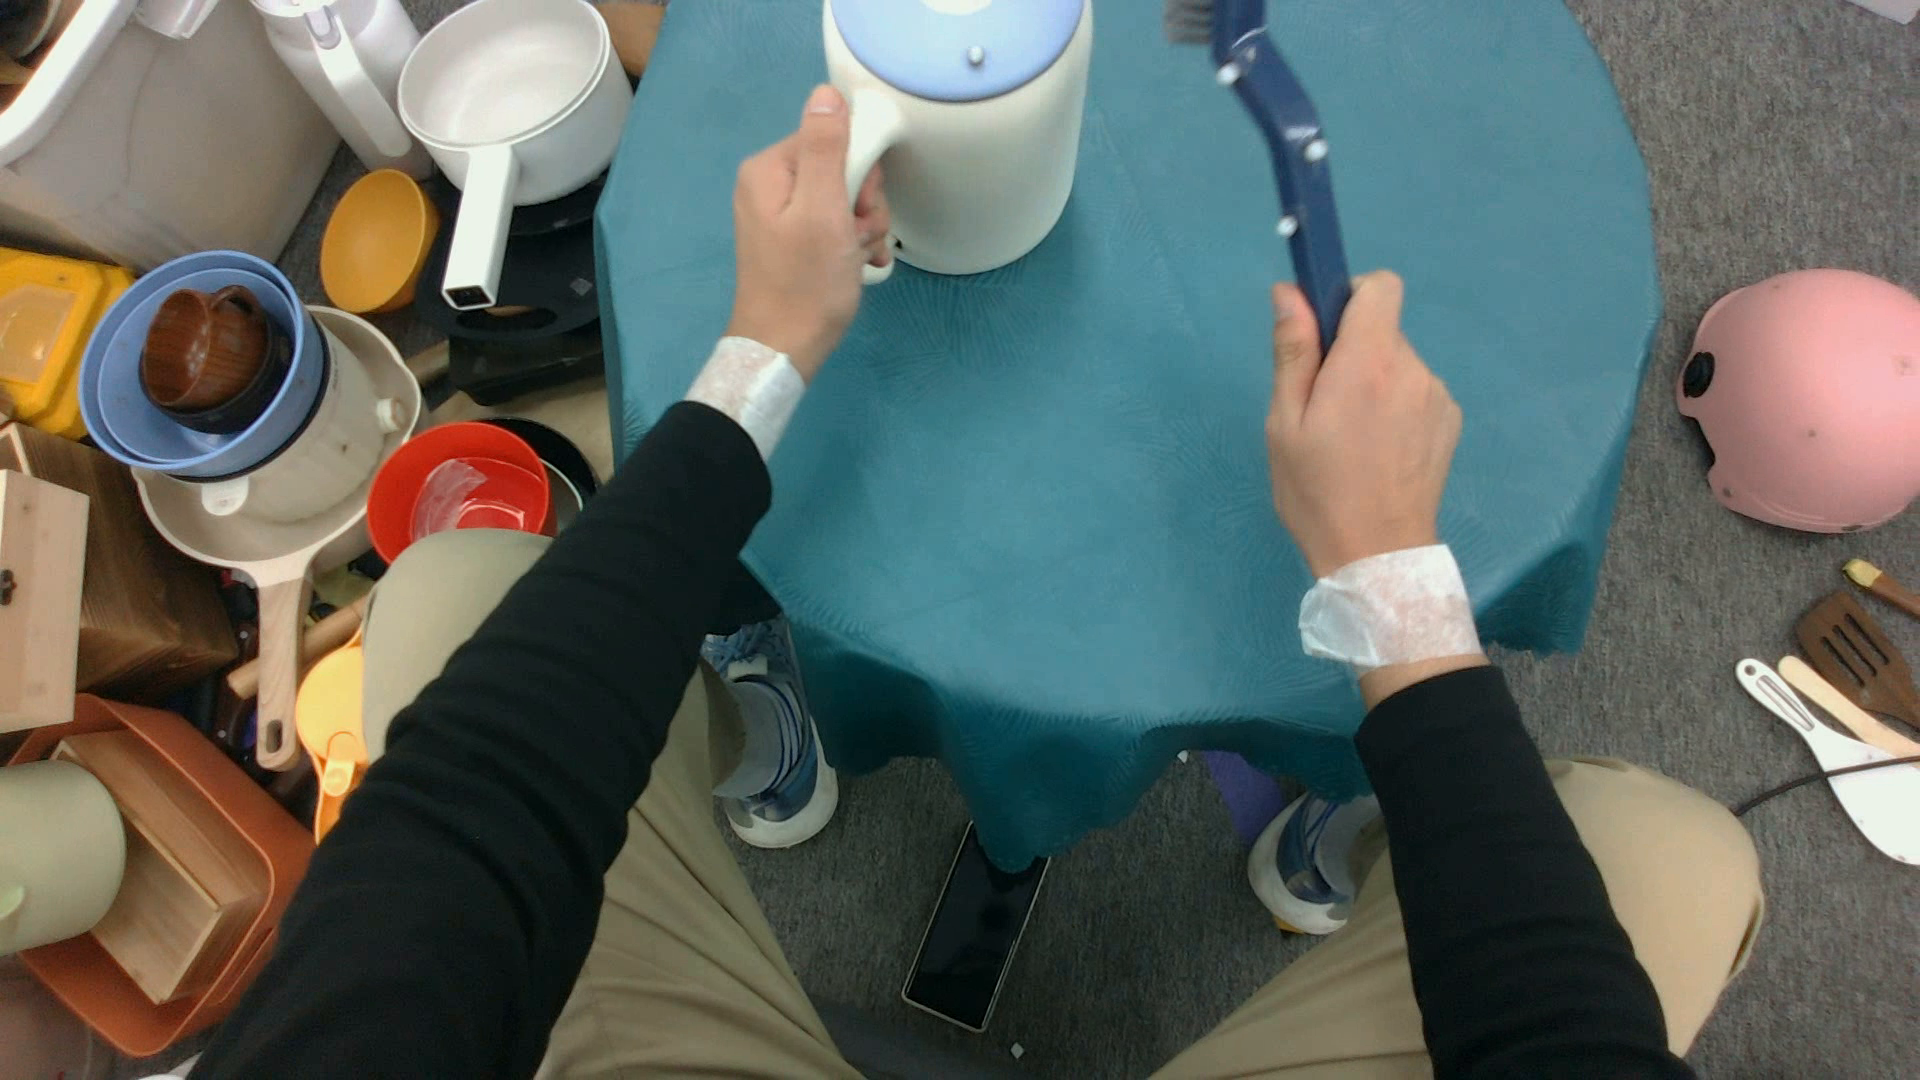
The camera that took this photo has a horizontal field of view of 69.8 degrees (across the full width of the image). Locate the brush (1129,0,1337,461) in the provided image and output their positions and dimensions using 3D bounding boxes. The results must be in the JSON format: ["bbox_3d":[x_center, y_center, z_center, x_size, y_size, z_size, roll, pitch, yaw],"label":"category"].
[{"bbox_3d":[0.136,-0.160,0.594,0.033,0.095,0.272,-41,114,-33],"label":"brush"}]

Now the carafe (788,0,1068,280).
[{"bbox_3d":[-0.028,-0.220,0.711,0.132,0.182,0.191,34,78,9],"label":"carafe"}]
